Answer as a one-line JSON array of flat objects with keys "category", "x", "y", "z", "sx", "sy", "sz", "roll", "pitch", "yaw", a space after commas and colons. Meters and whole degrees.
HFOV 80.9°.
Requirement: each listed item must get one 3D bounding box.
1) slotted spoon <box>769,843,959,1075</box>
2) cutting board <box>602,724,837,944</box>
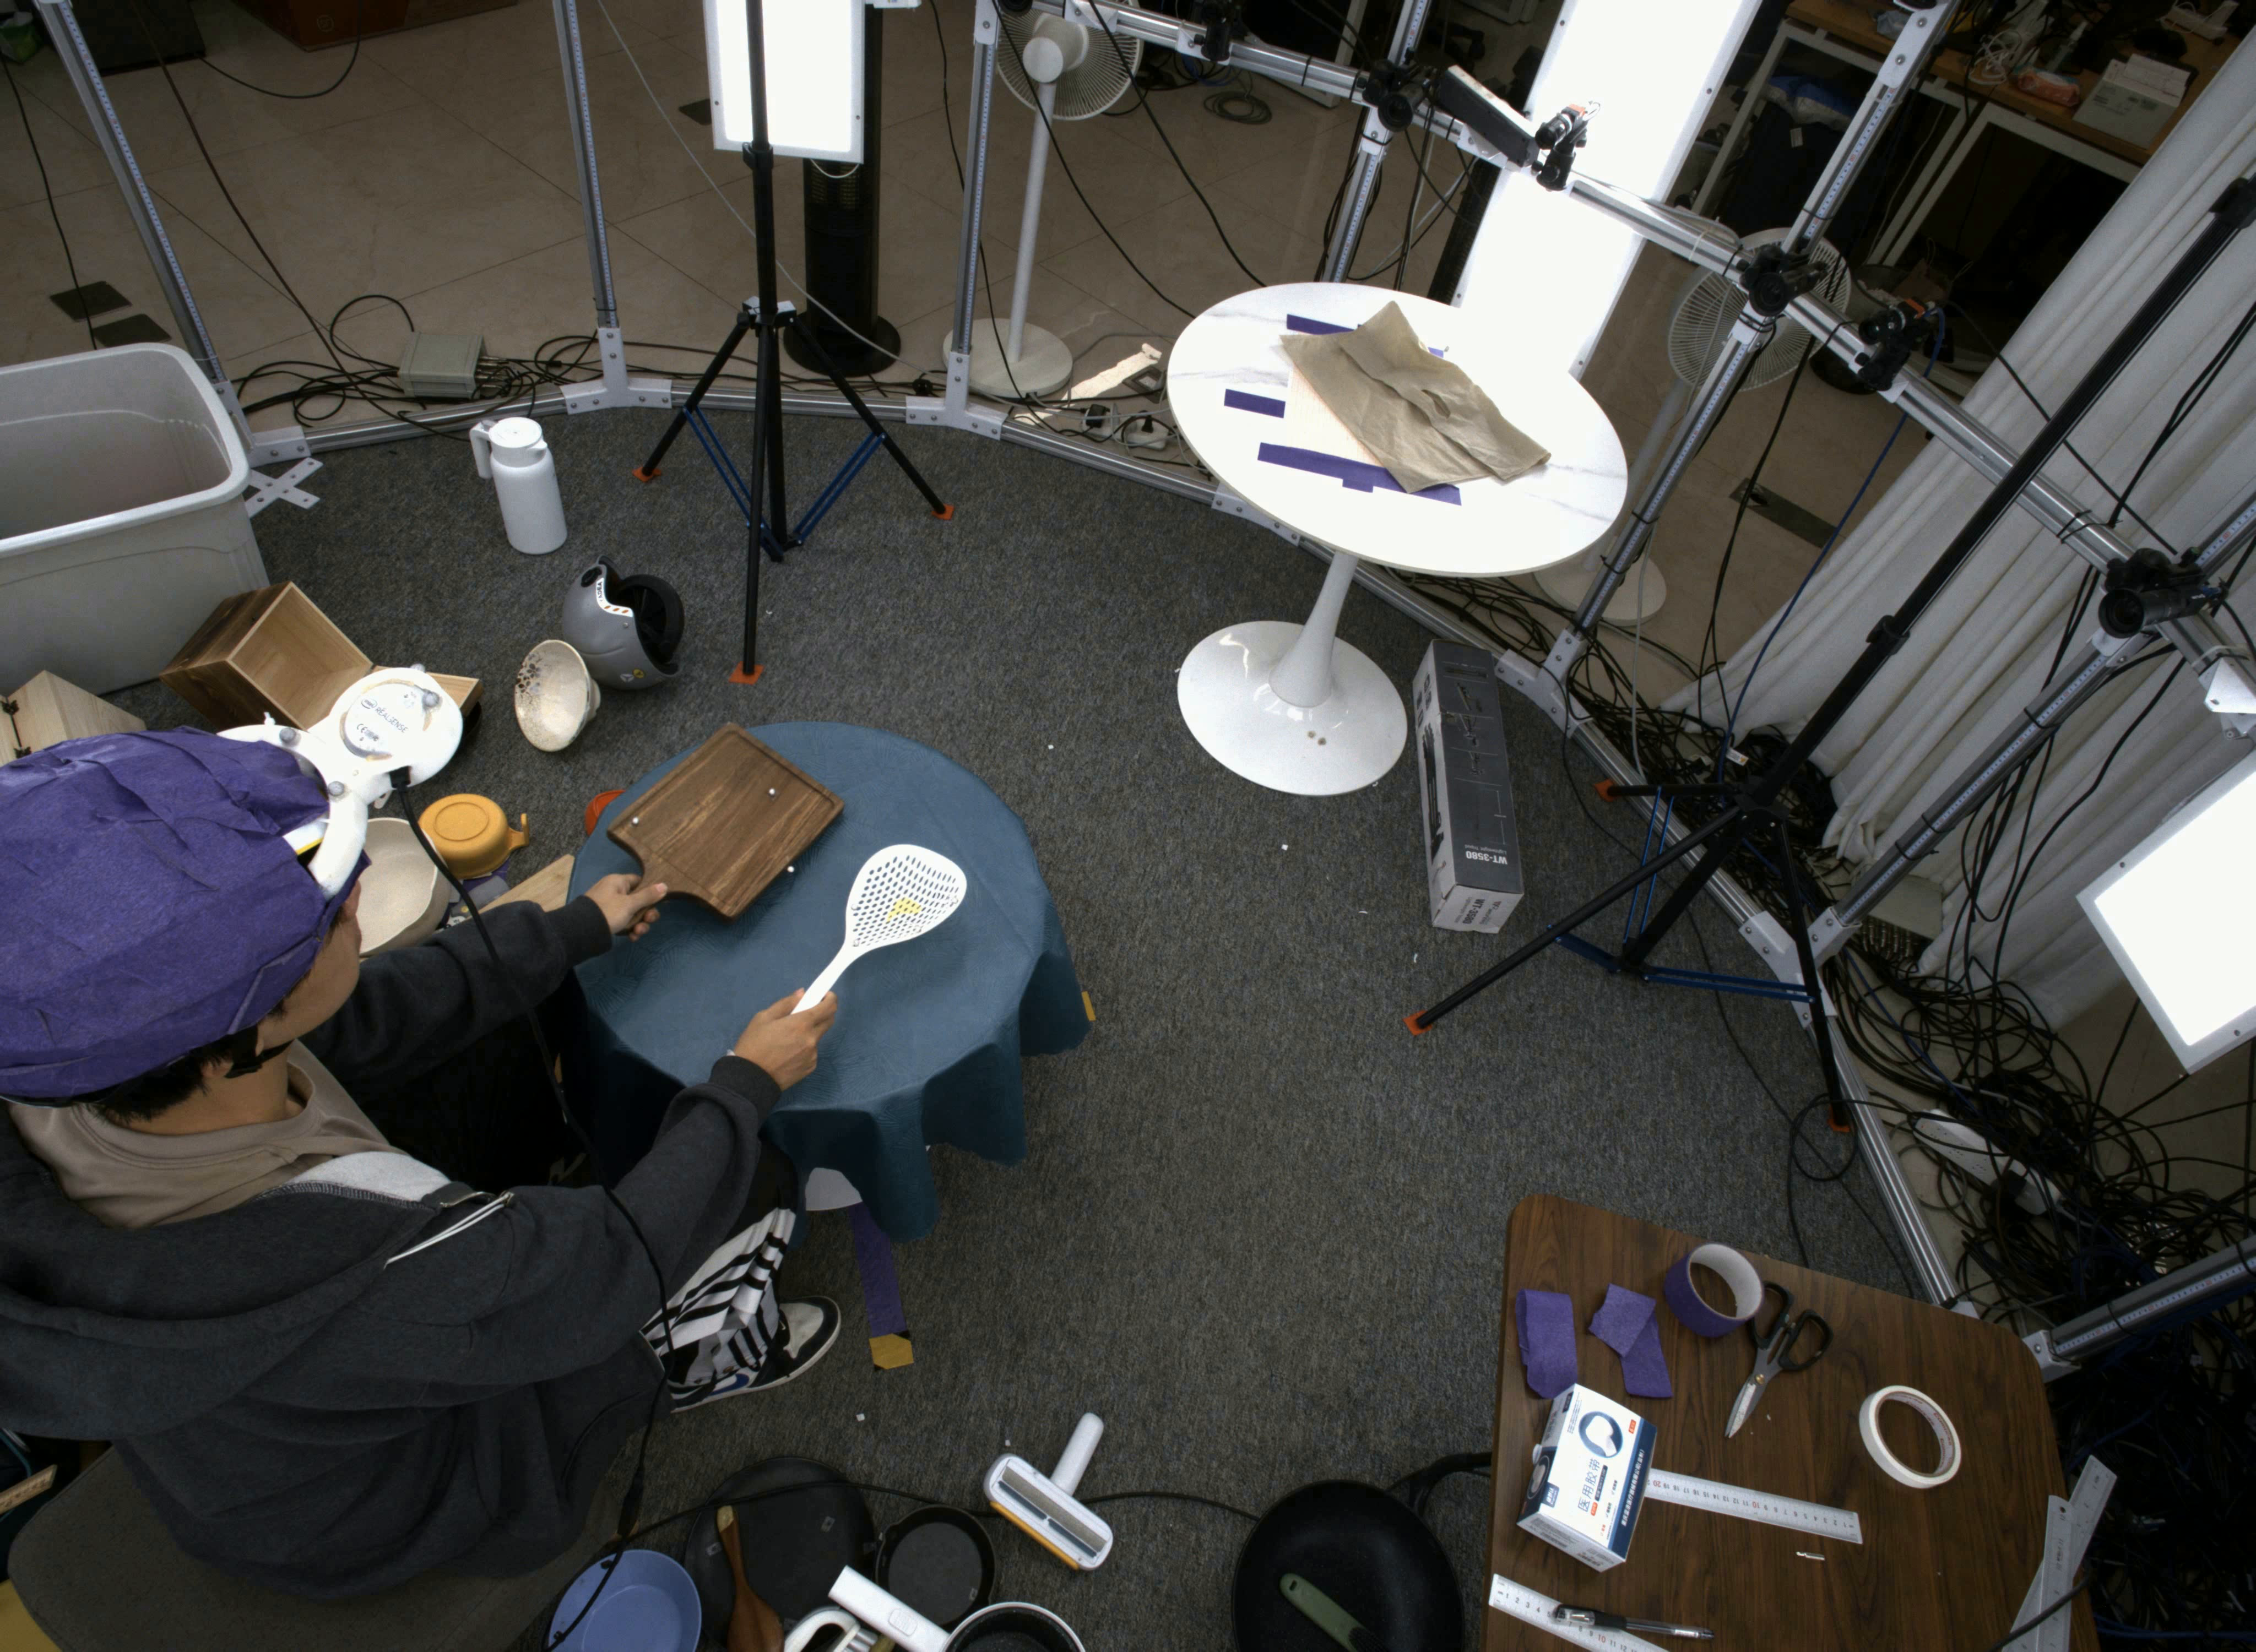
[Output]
[{"category": "slotted spoon", "x": -0.328, "y": 0.151, "z": 1.547, "sx": 0.134, "sy": 0.051, "sz": 0.346, "roll": 24, "pitch": 46, "yaw": 12}, {"category": "cutting board", "x": -0.538, "y": 0.022, "z": 1.613, "sx": 0.201, "sy": 0.023, "sz": 0.350, "roll": 36, "pitch": 46, "yaw": -2}]
